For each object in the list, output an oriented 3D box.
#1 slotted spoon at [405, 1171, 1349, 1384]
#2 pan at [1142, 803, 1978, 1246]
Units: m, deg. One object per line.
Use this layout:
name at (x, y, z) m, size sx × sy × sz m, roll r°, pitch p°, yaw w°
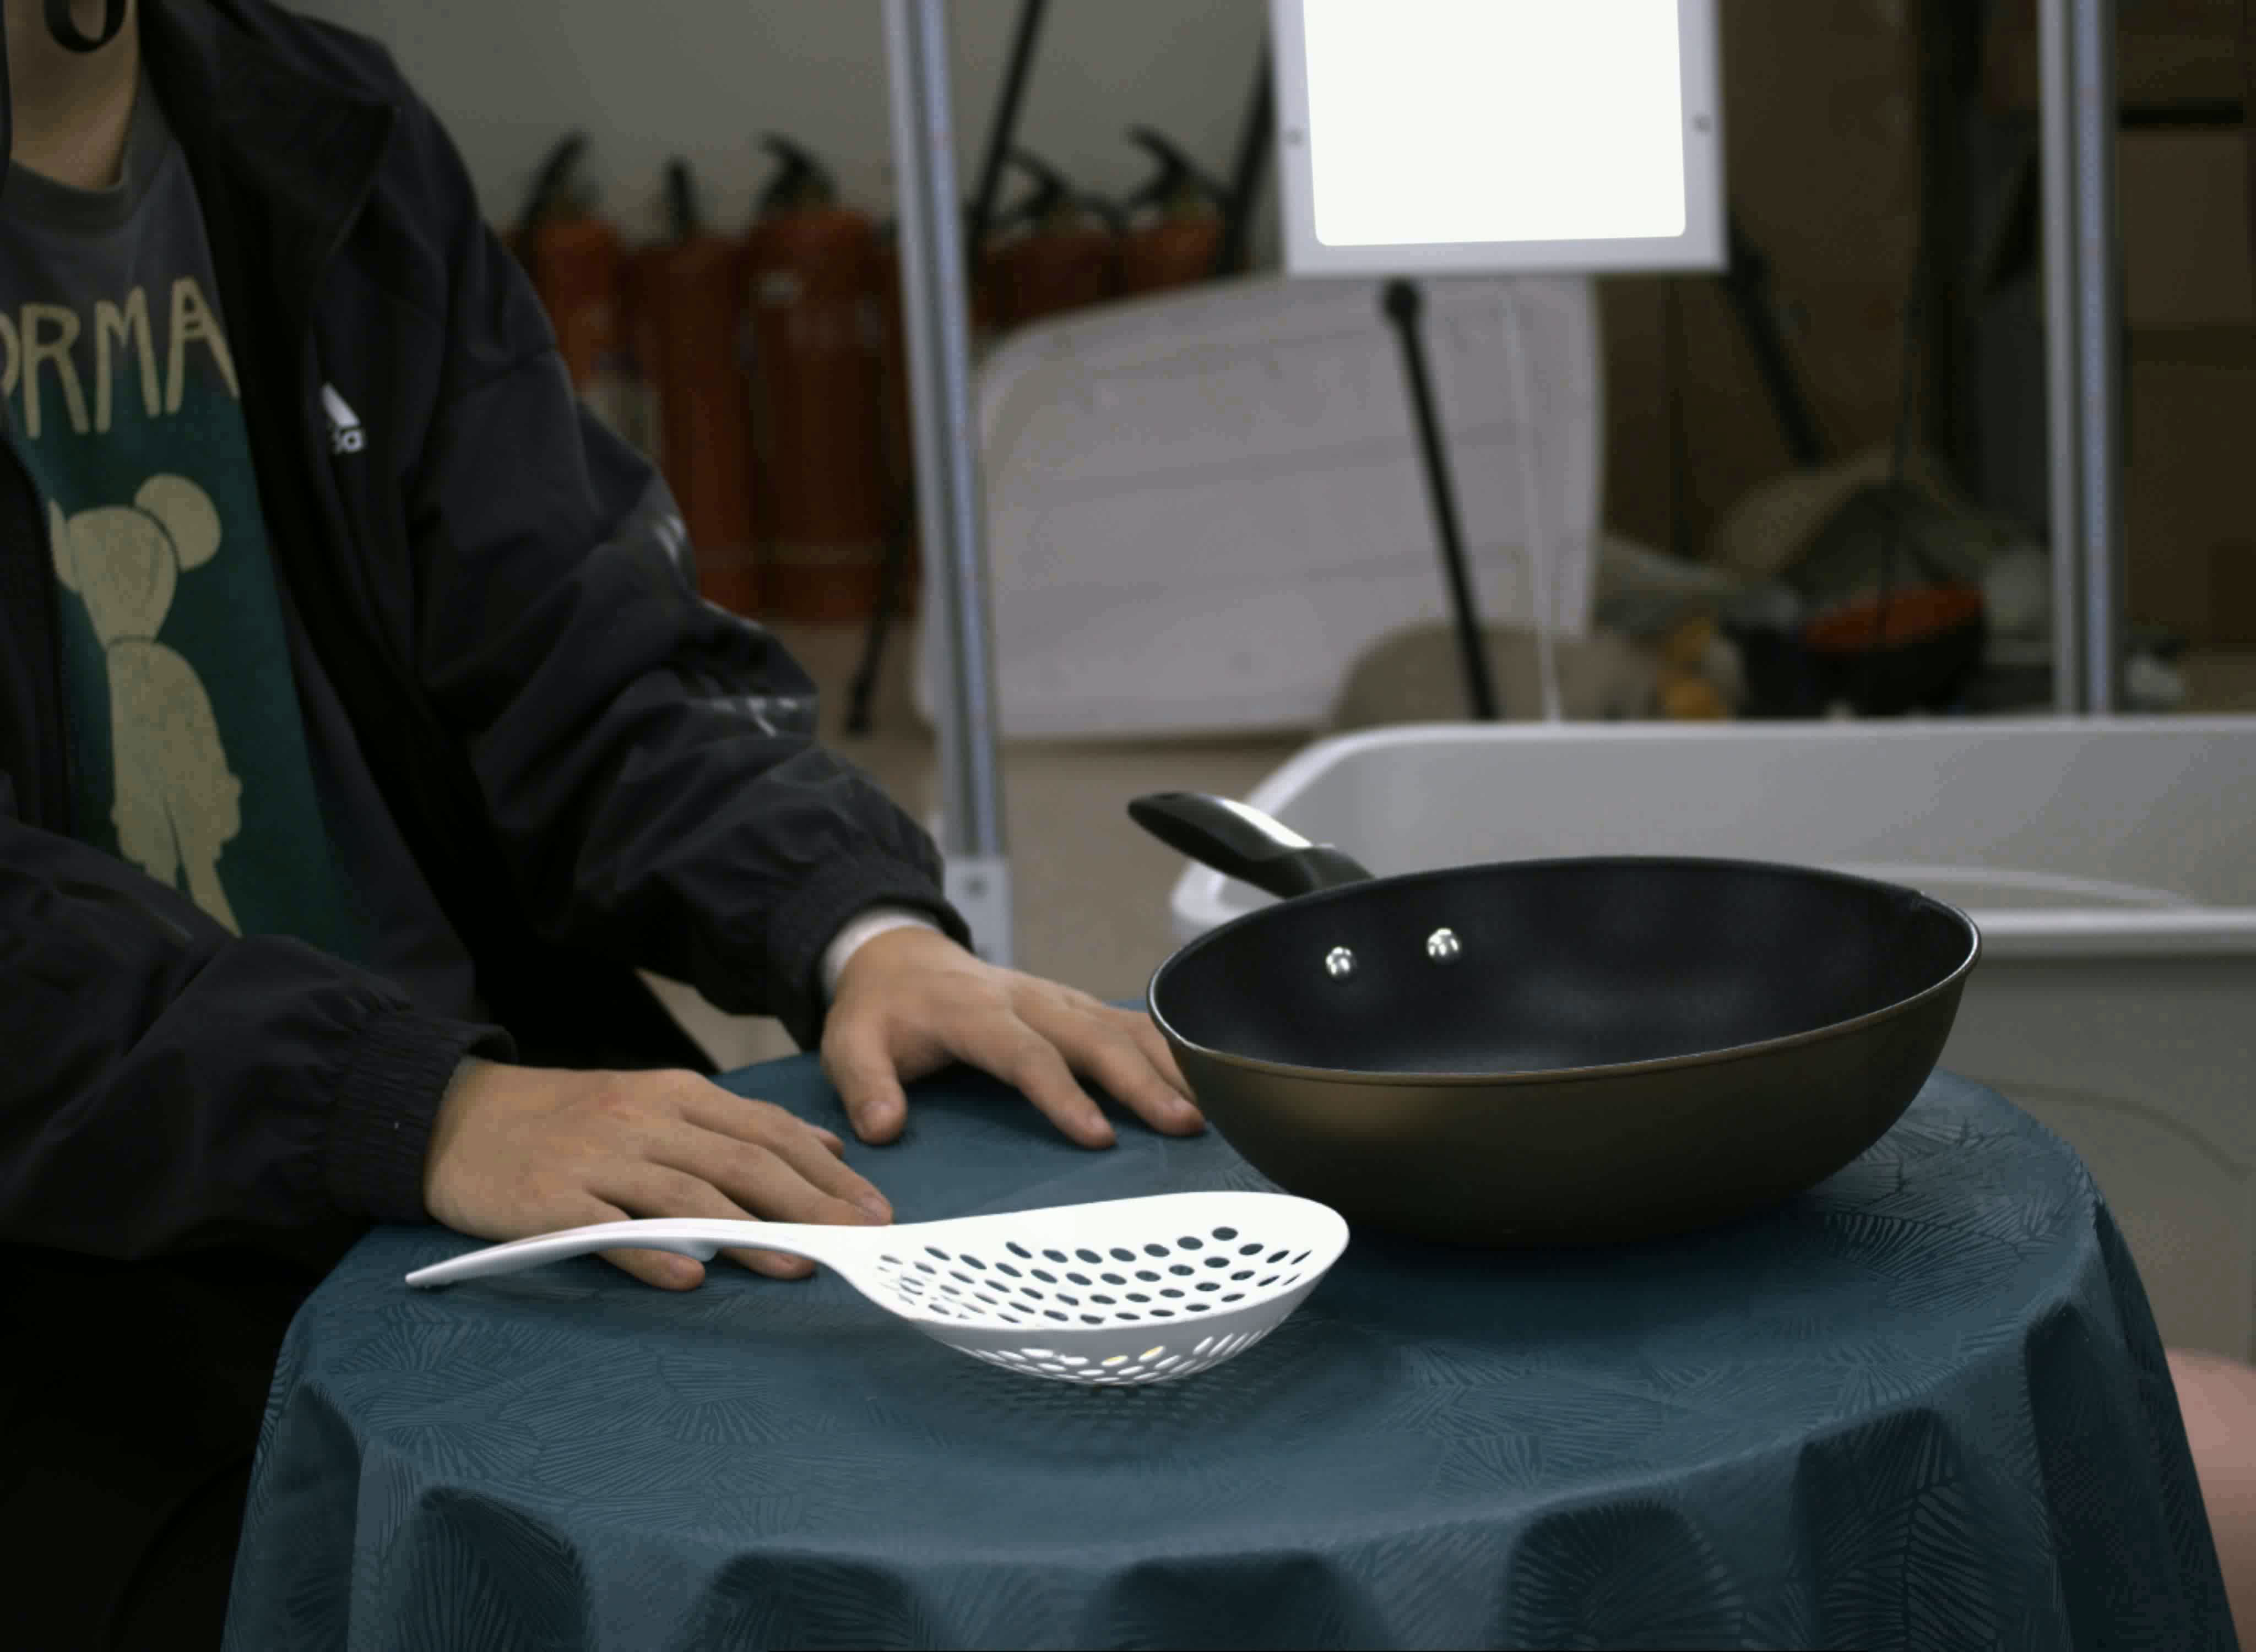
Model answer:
slotted spoon at (-0.090, 0.144, 1.772) m, size 0.355 × 0.050 × 0.133 m, roll 3°, pitch 18°, yaw 32°
pan at (0.110, 0.066, 1.934) m, size 0.282 × 0.087 × 0.470 m, roll -10°, pitch 13°, yaw -22°
